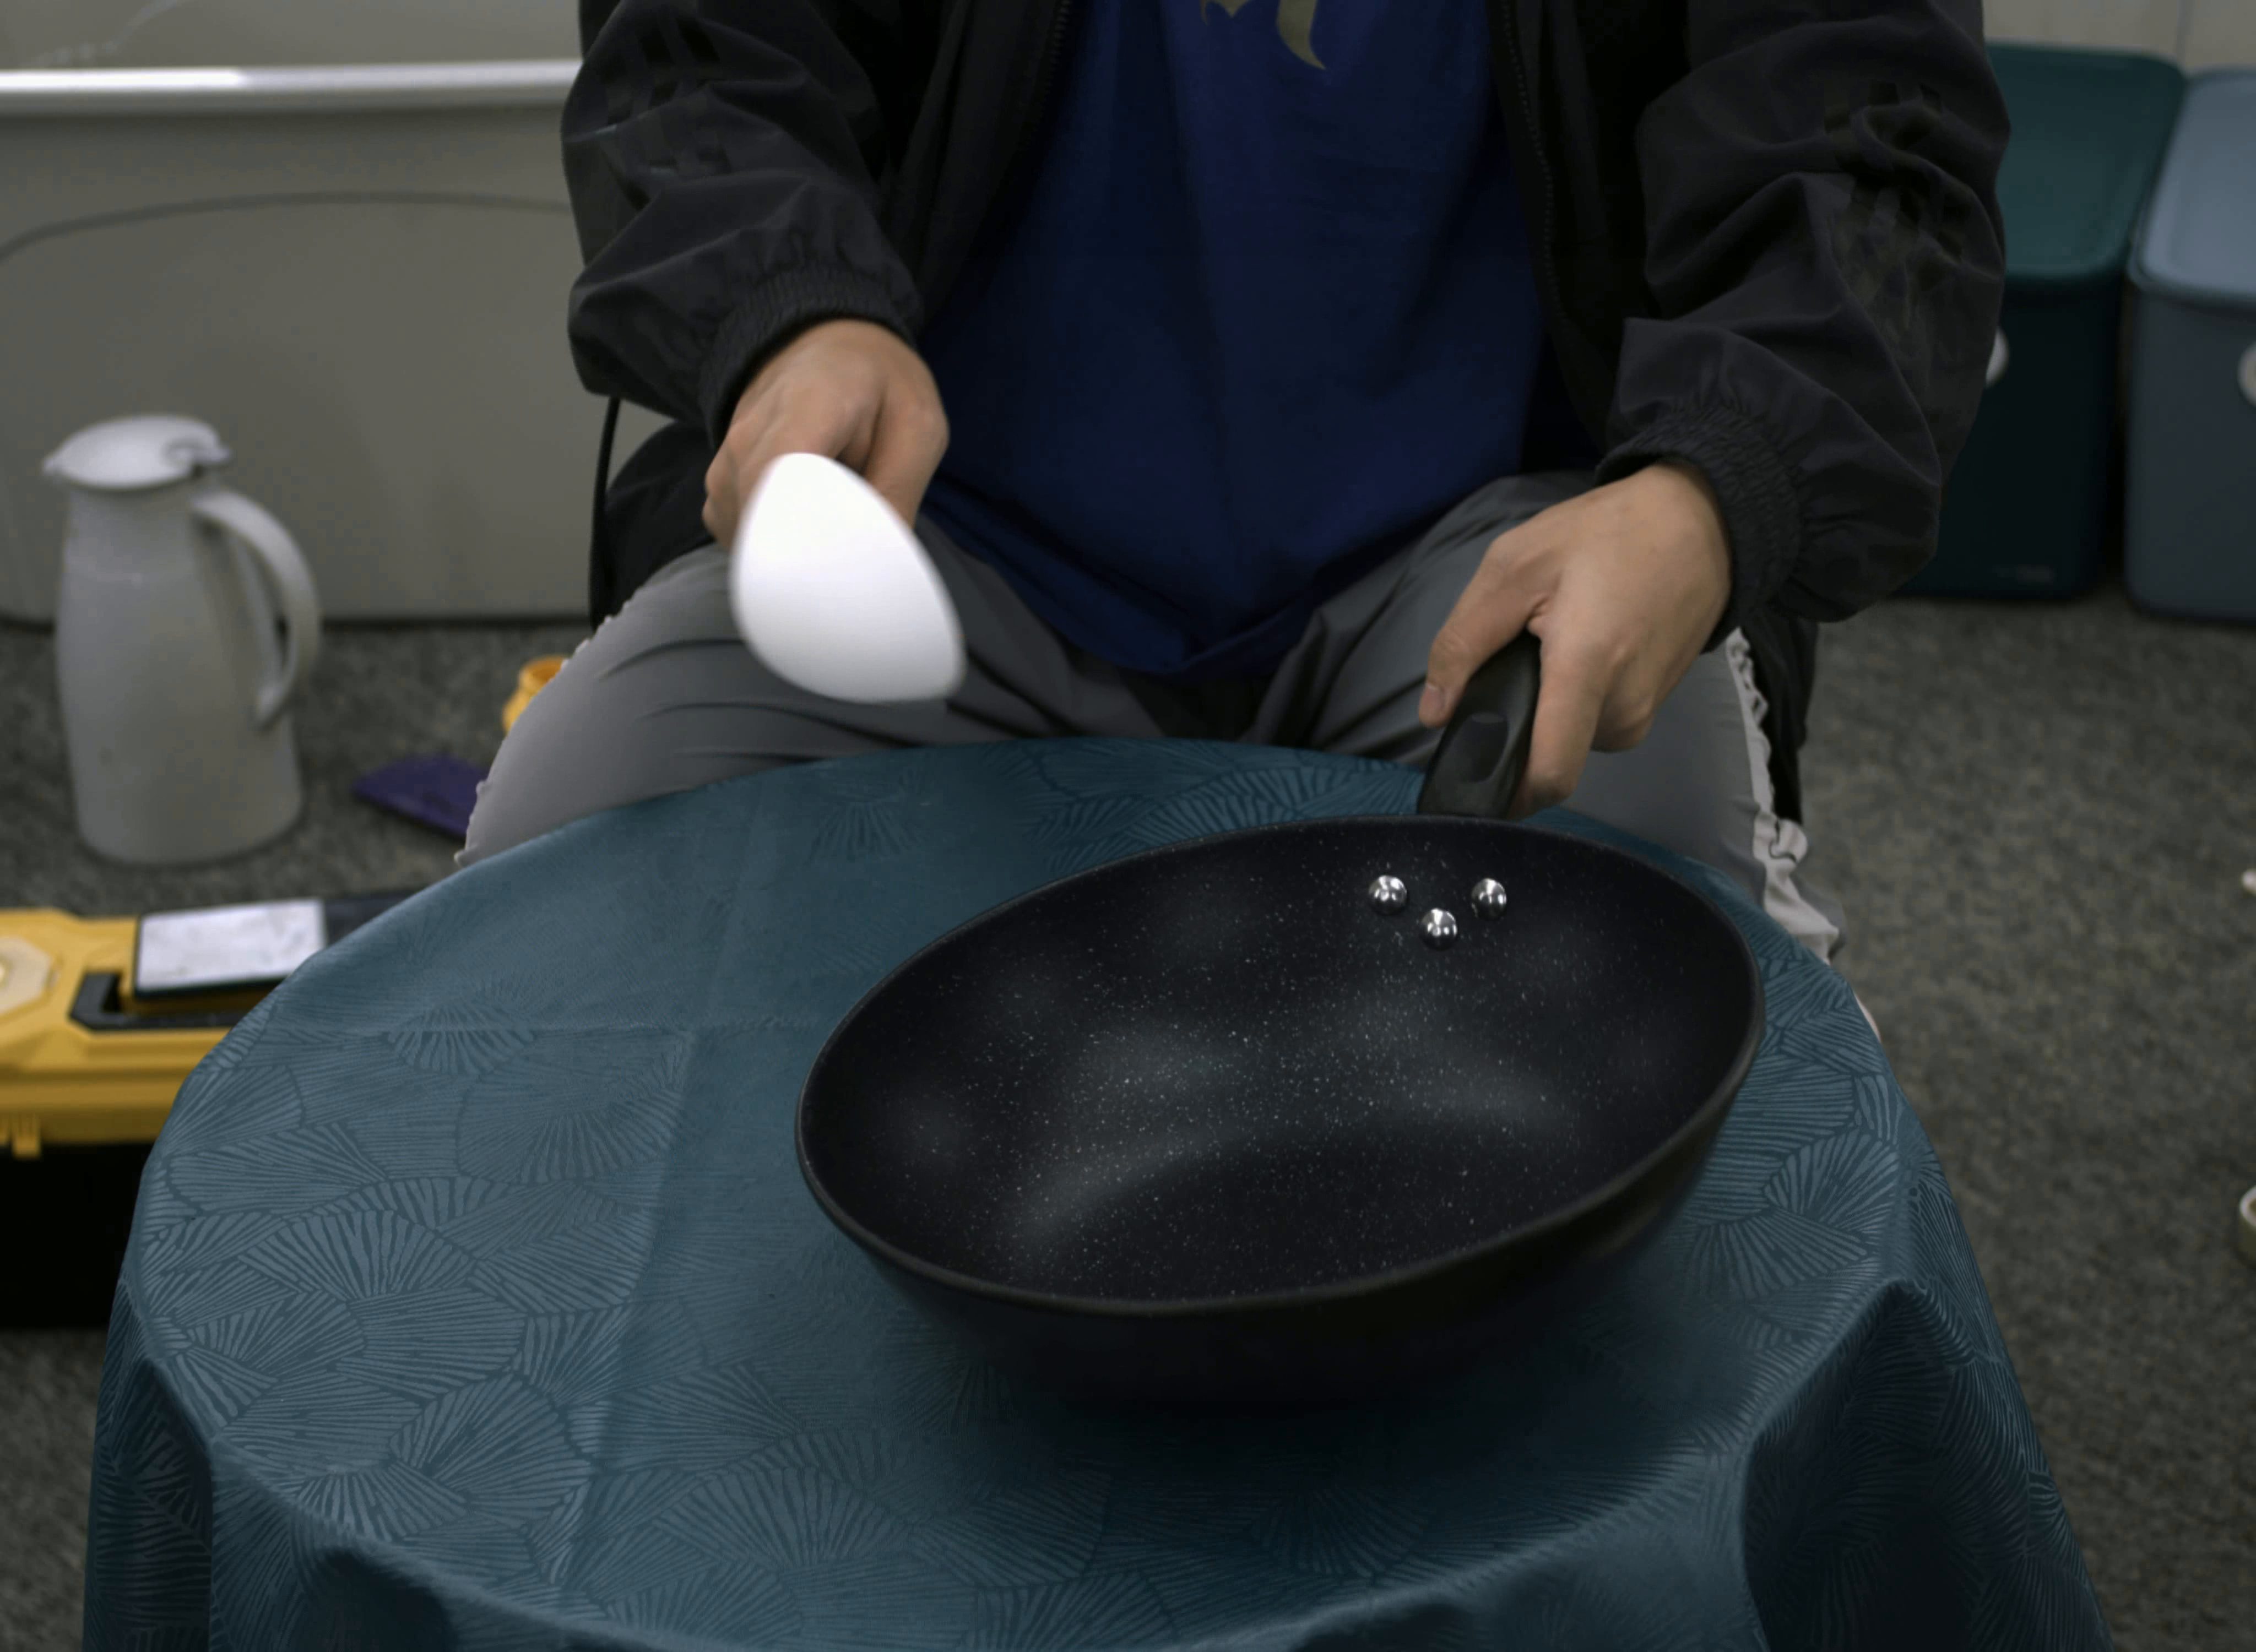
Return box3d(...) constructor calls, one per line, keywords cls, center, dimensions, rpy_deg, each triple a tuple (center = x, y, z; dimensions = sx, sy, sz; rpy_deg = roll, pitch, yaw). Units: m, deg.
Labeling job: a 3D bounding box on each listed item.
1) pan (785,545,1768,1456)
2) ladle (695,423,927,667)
box3d(cls="pan", center=(0.081, 0.061, 1.838), dimensions=(0.308, 0.110, 0.485), rpy_deg=(4, 30, 23))
box3d(cls="ladle", center=(-0.098, -0.098, 1.870), dimensions=(0.069, 0.090, 0.294), rpy_deg=(-41, 4, 7))
